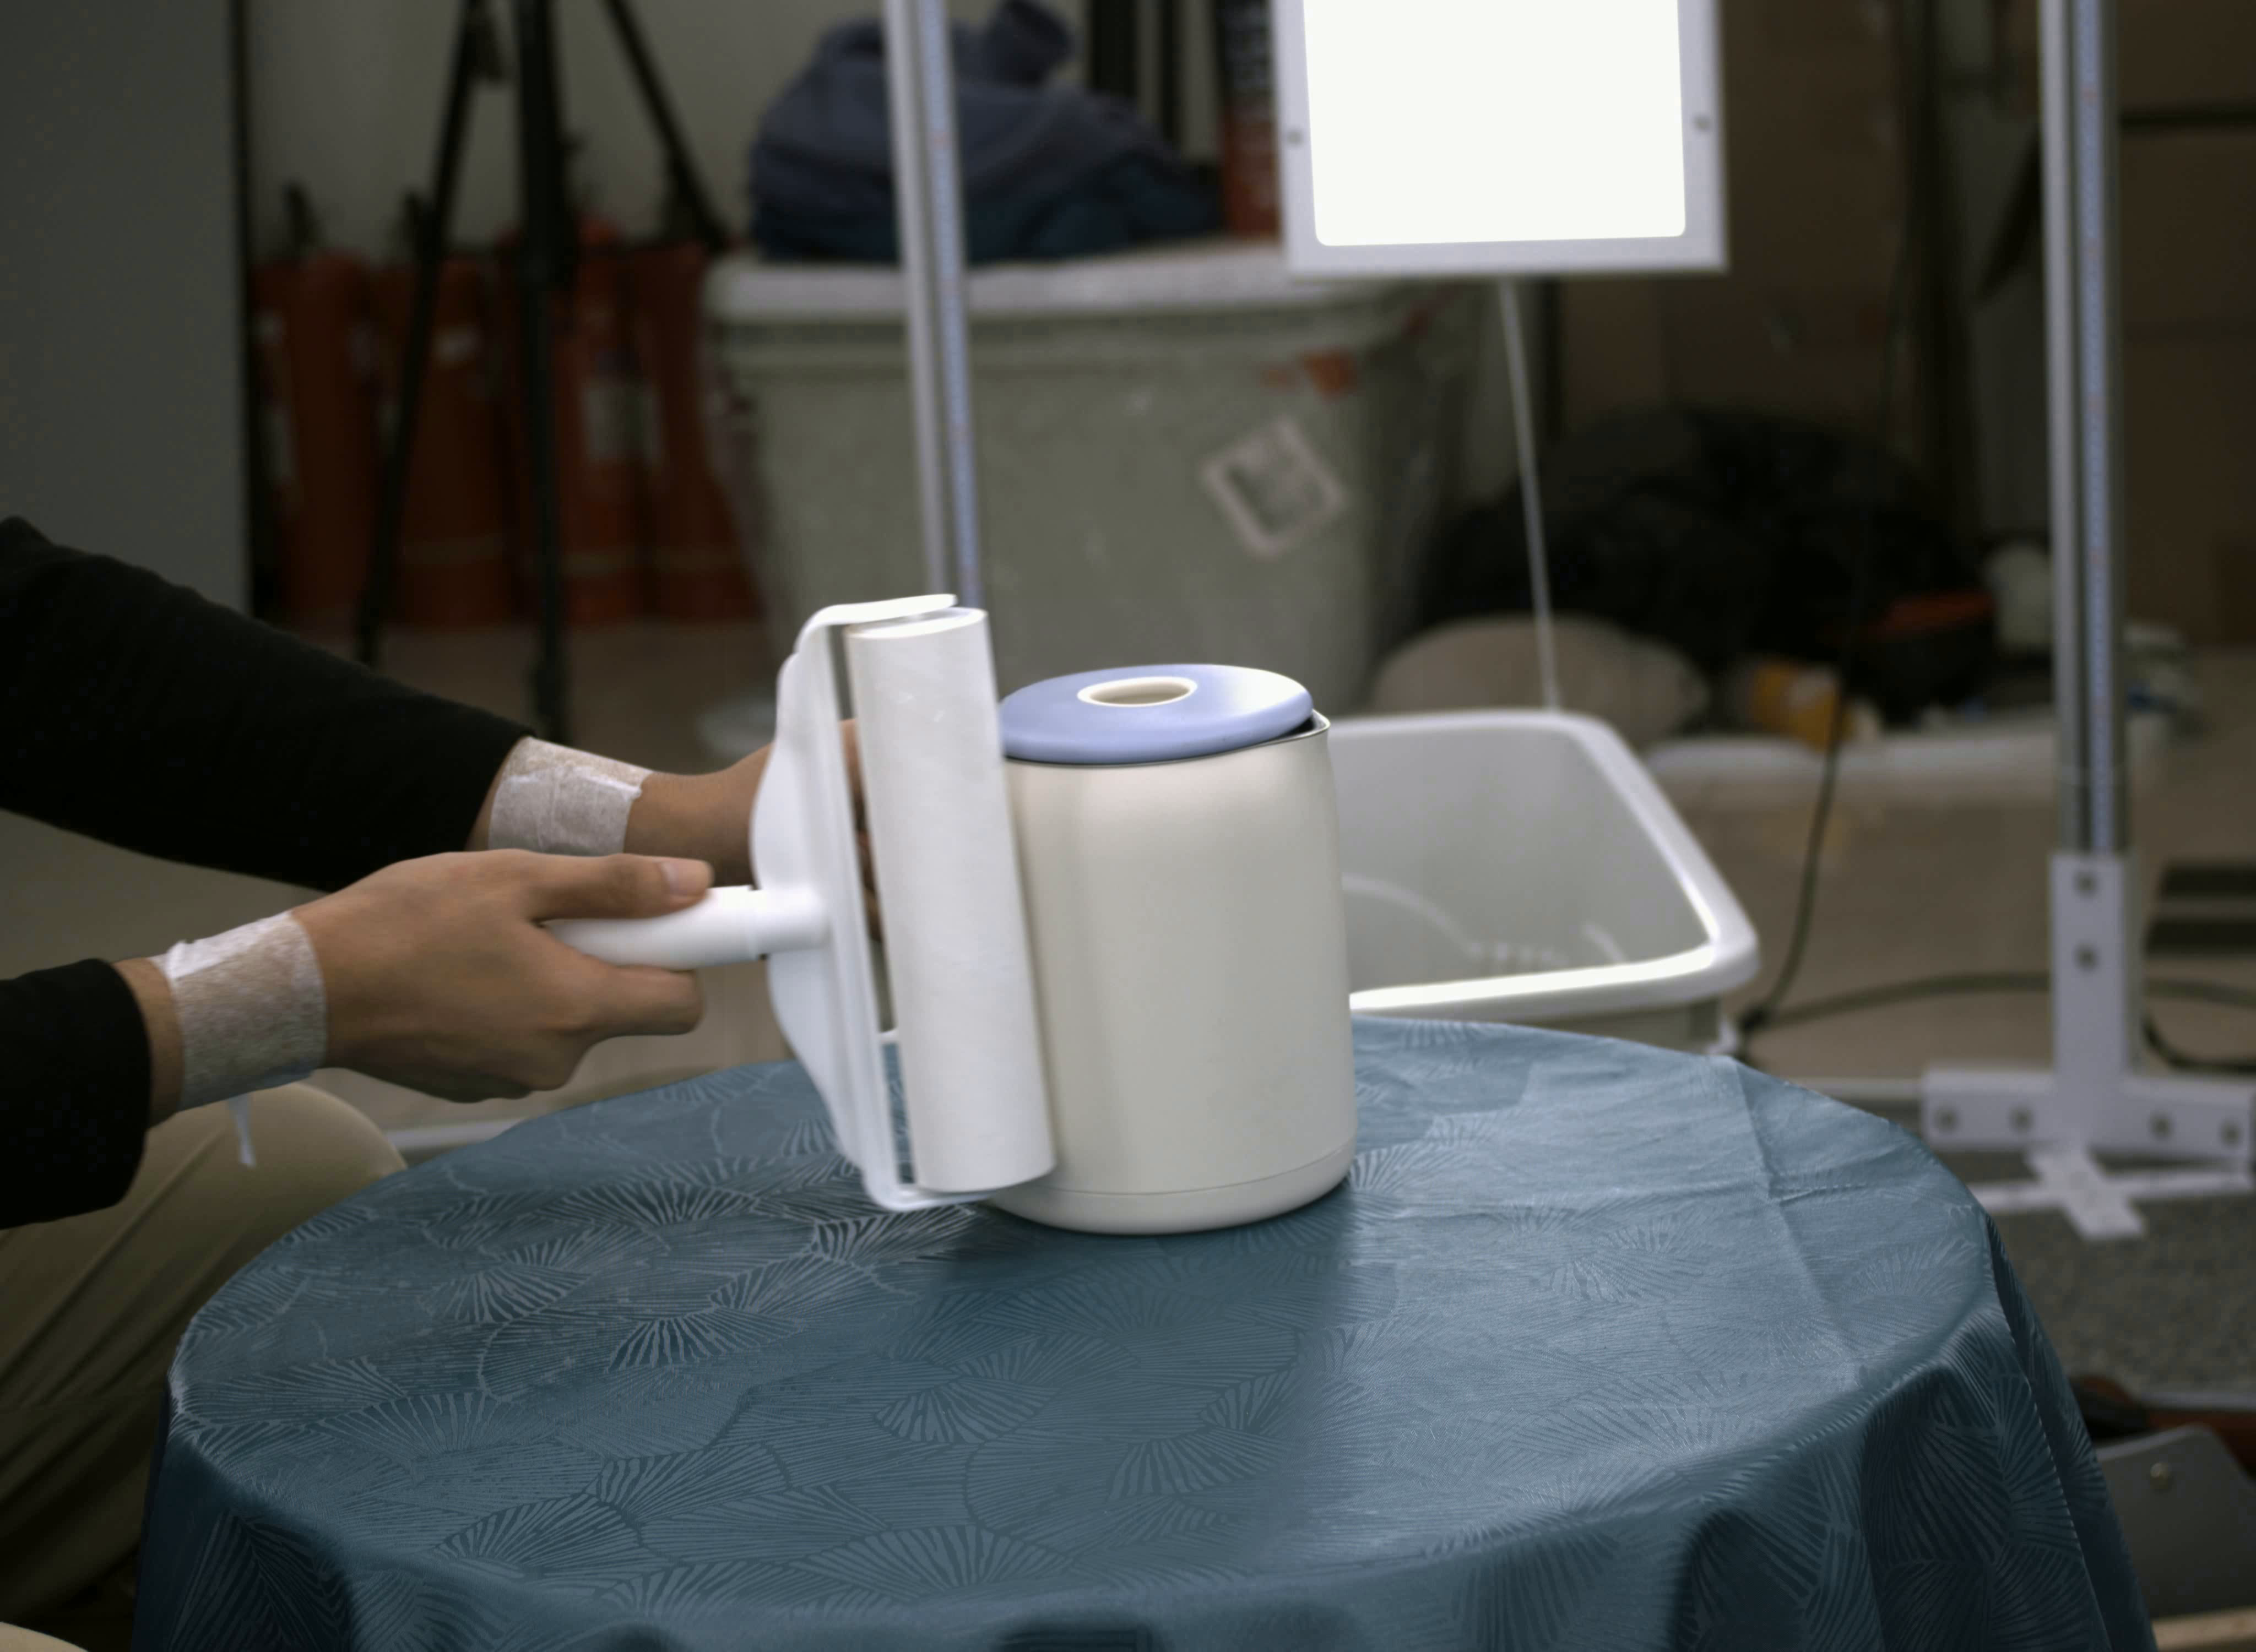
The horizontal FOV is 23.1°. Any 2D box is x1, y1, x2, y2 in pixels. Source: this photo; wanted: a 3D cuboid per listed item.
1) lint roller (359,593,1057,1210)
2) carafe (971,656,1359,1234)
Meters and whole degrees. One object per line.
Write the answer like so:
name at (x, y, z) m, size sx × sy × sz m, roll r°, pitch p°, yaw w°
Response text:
lint roller at (-0.145, 0.036, 1.823) m, size 0.225 × 0.203 × 0.048 m, roll -8°, pitch 13°, yaw 4°
carafe at (-0.013, 0.040, 1.894) m, size 0.194 × 0.183 × 0.129 m, roll 0°, pitch 14°, yaw 24°
